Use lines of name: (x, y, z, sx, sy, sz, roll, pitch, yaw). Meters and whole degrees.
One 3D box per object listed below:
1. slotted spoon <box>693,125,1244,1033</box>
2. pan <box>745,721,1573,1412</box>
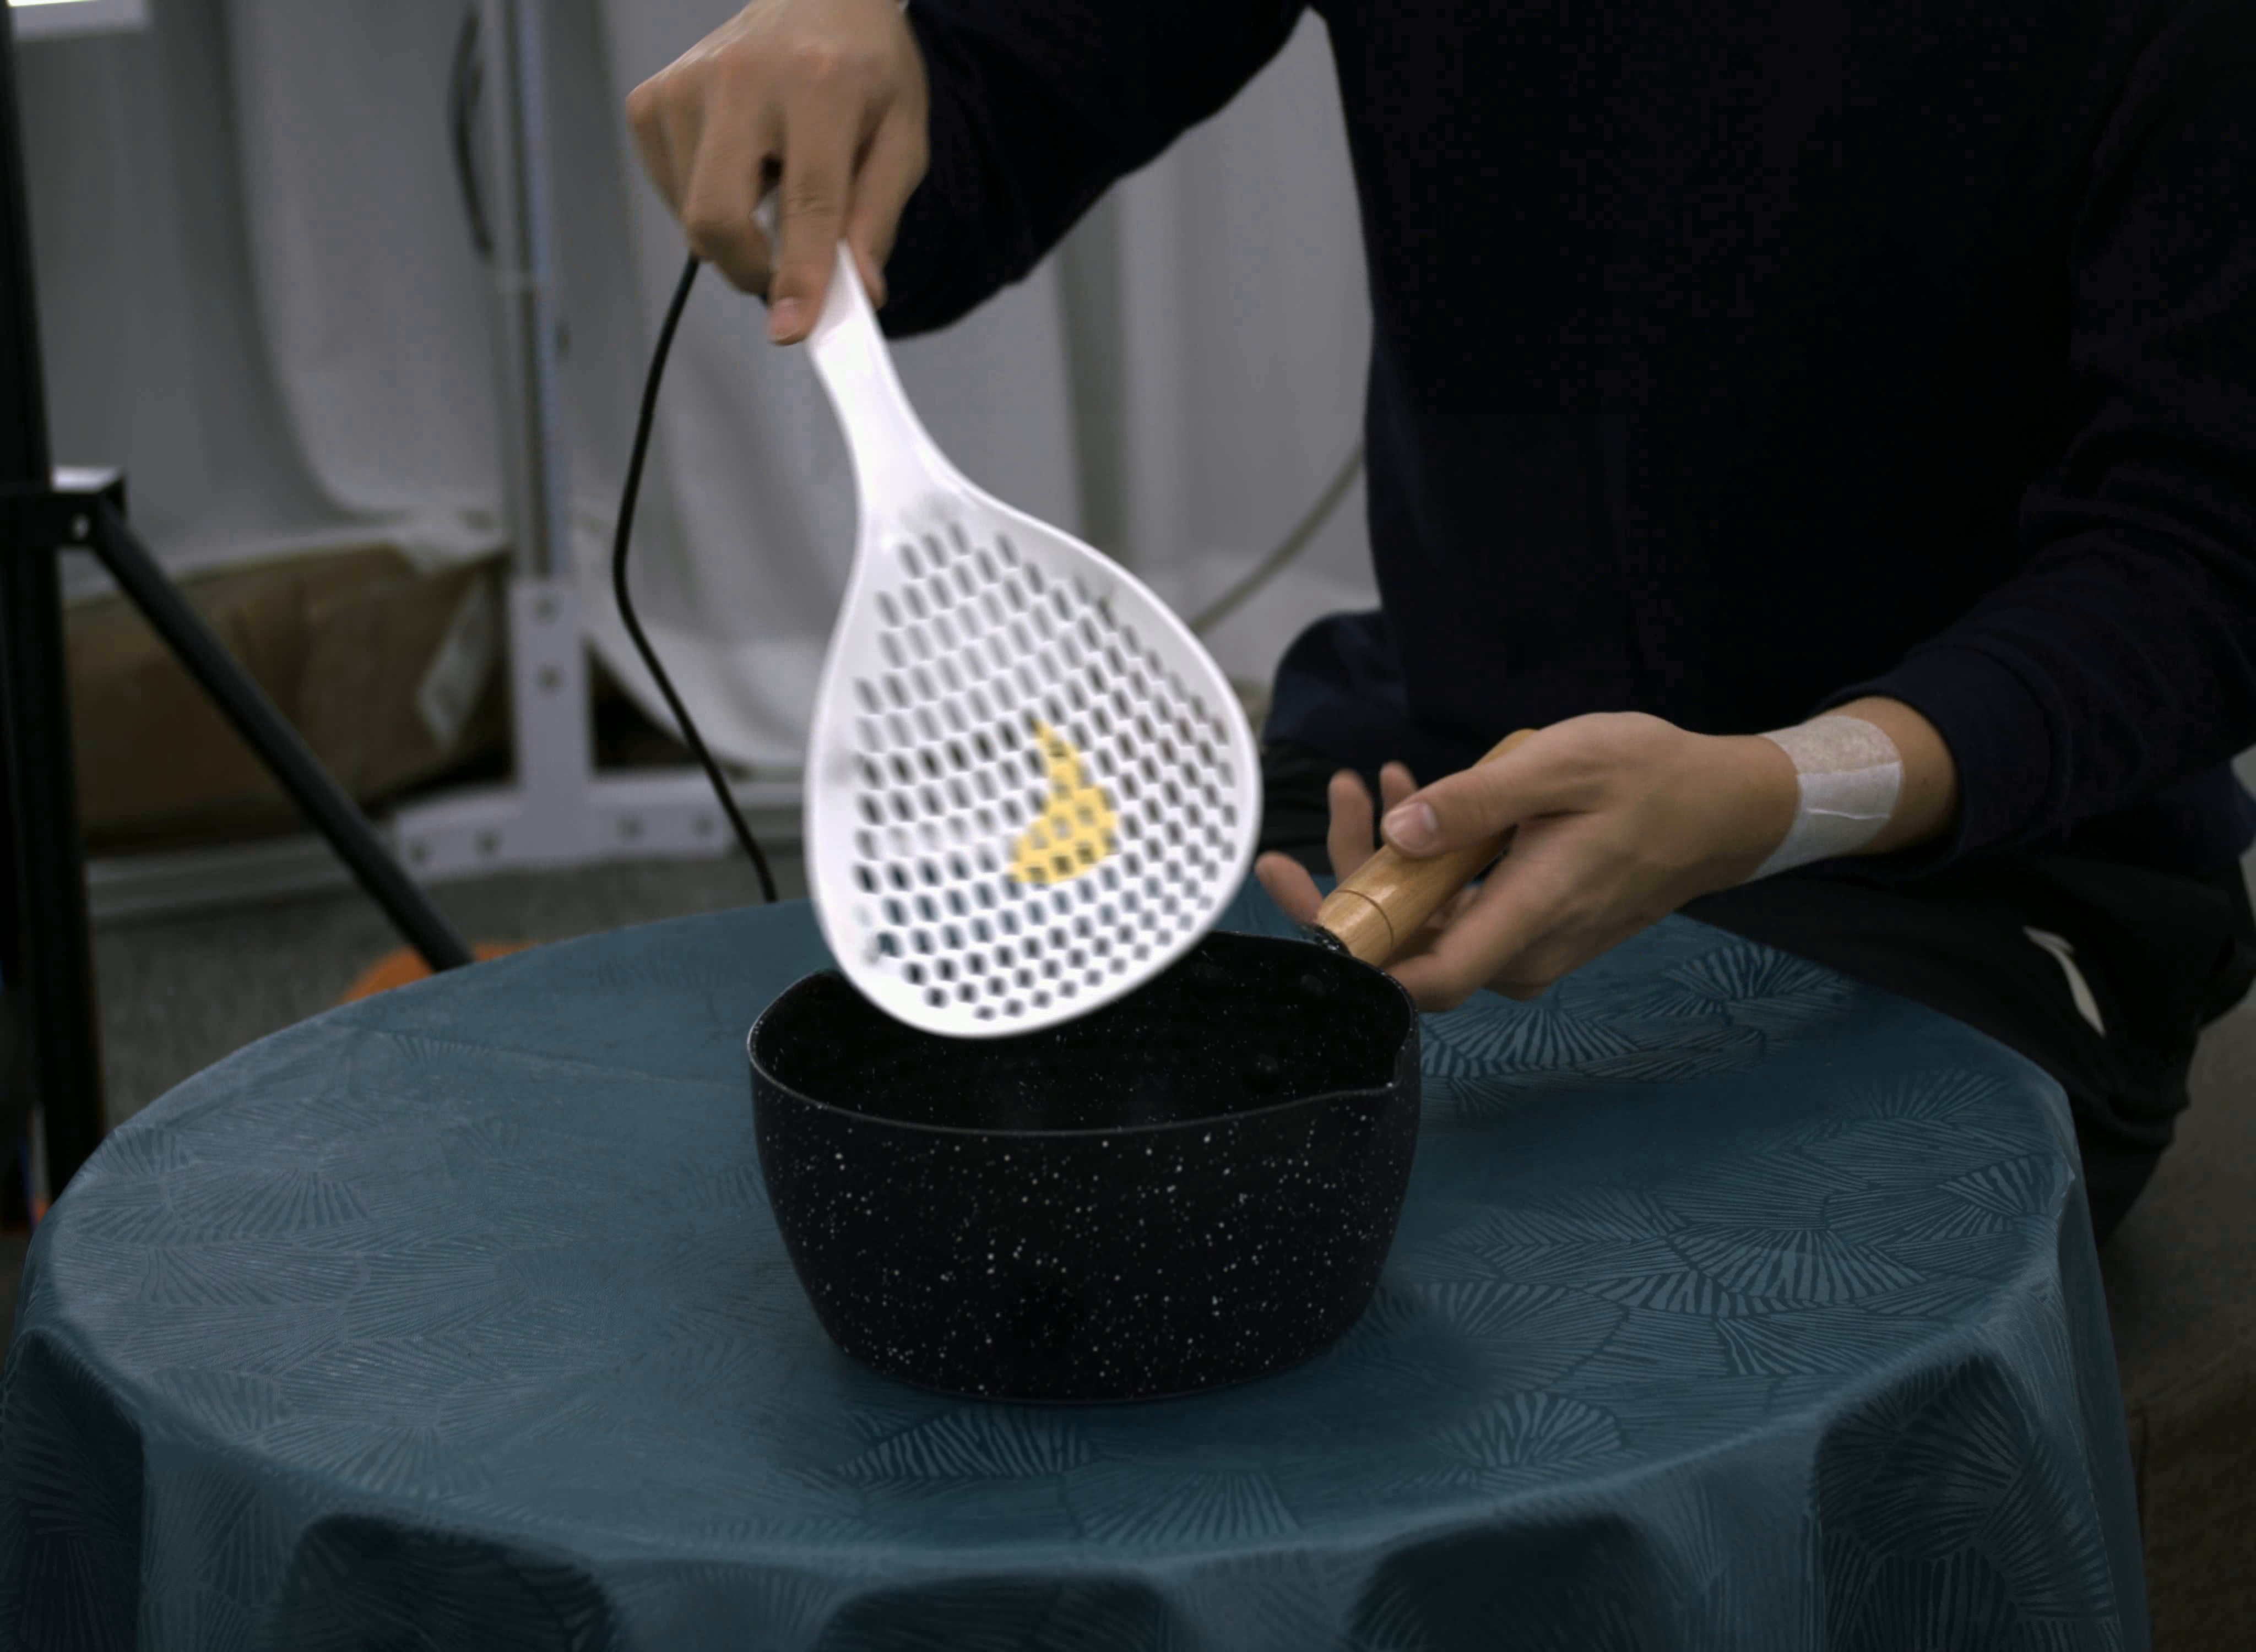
slotted spoon: (-0.067, -0.087, 1.557, 0.137, 0.354, 0.049, -29, -30, 9)
pan: (0.032, 0.063, 1.514, 0.211, 0.108, 0.336, 7, 20, 34)
